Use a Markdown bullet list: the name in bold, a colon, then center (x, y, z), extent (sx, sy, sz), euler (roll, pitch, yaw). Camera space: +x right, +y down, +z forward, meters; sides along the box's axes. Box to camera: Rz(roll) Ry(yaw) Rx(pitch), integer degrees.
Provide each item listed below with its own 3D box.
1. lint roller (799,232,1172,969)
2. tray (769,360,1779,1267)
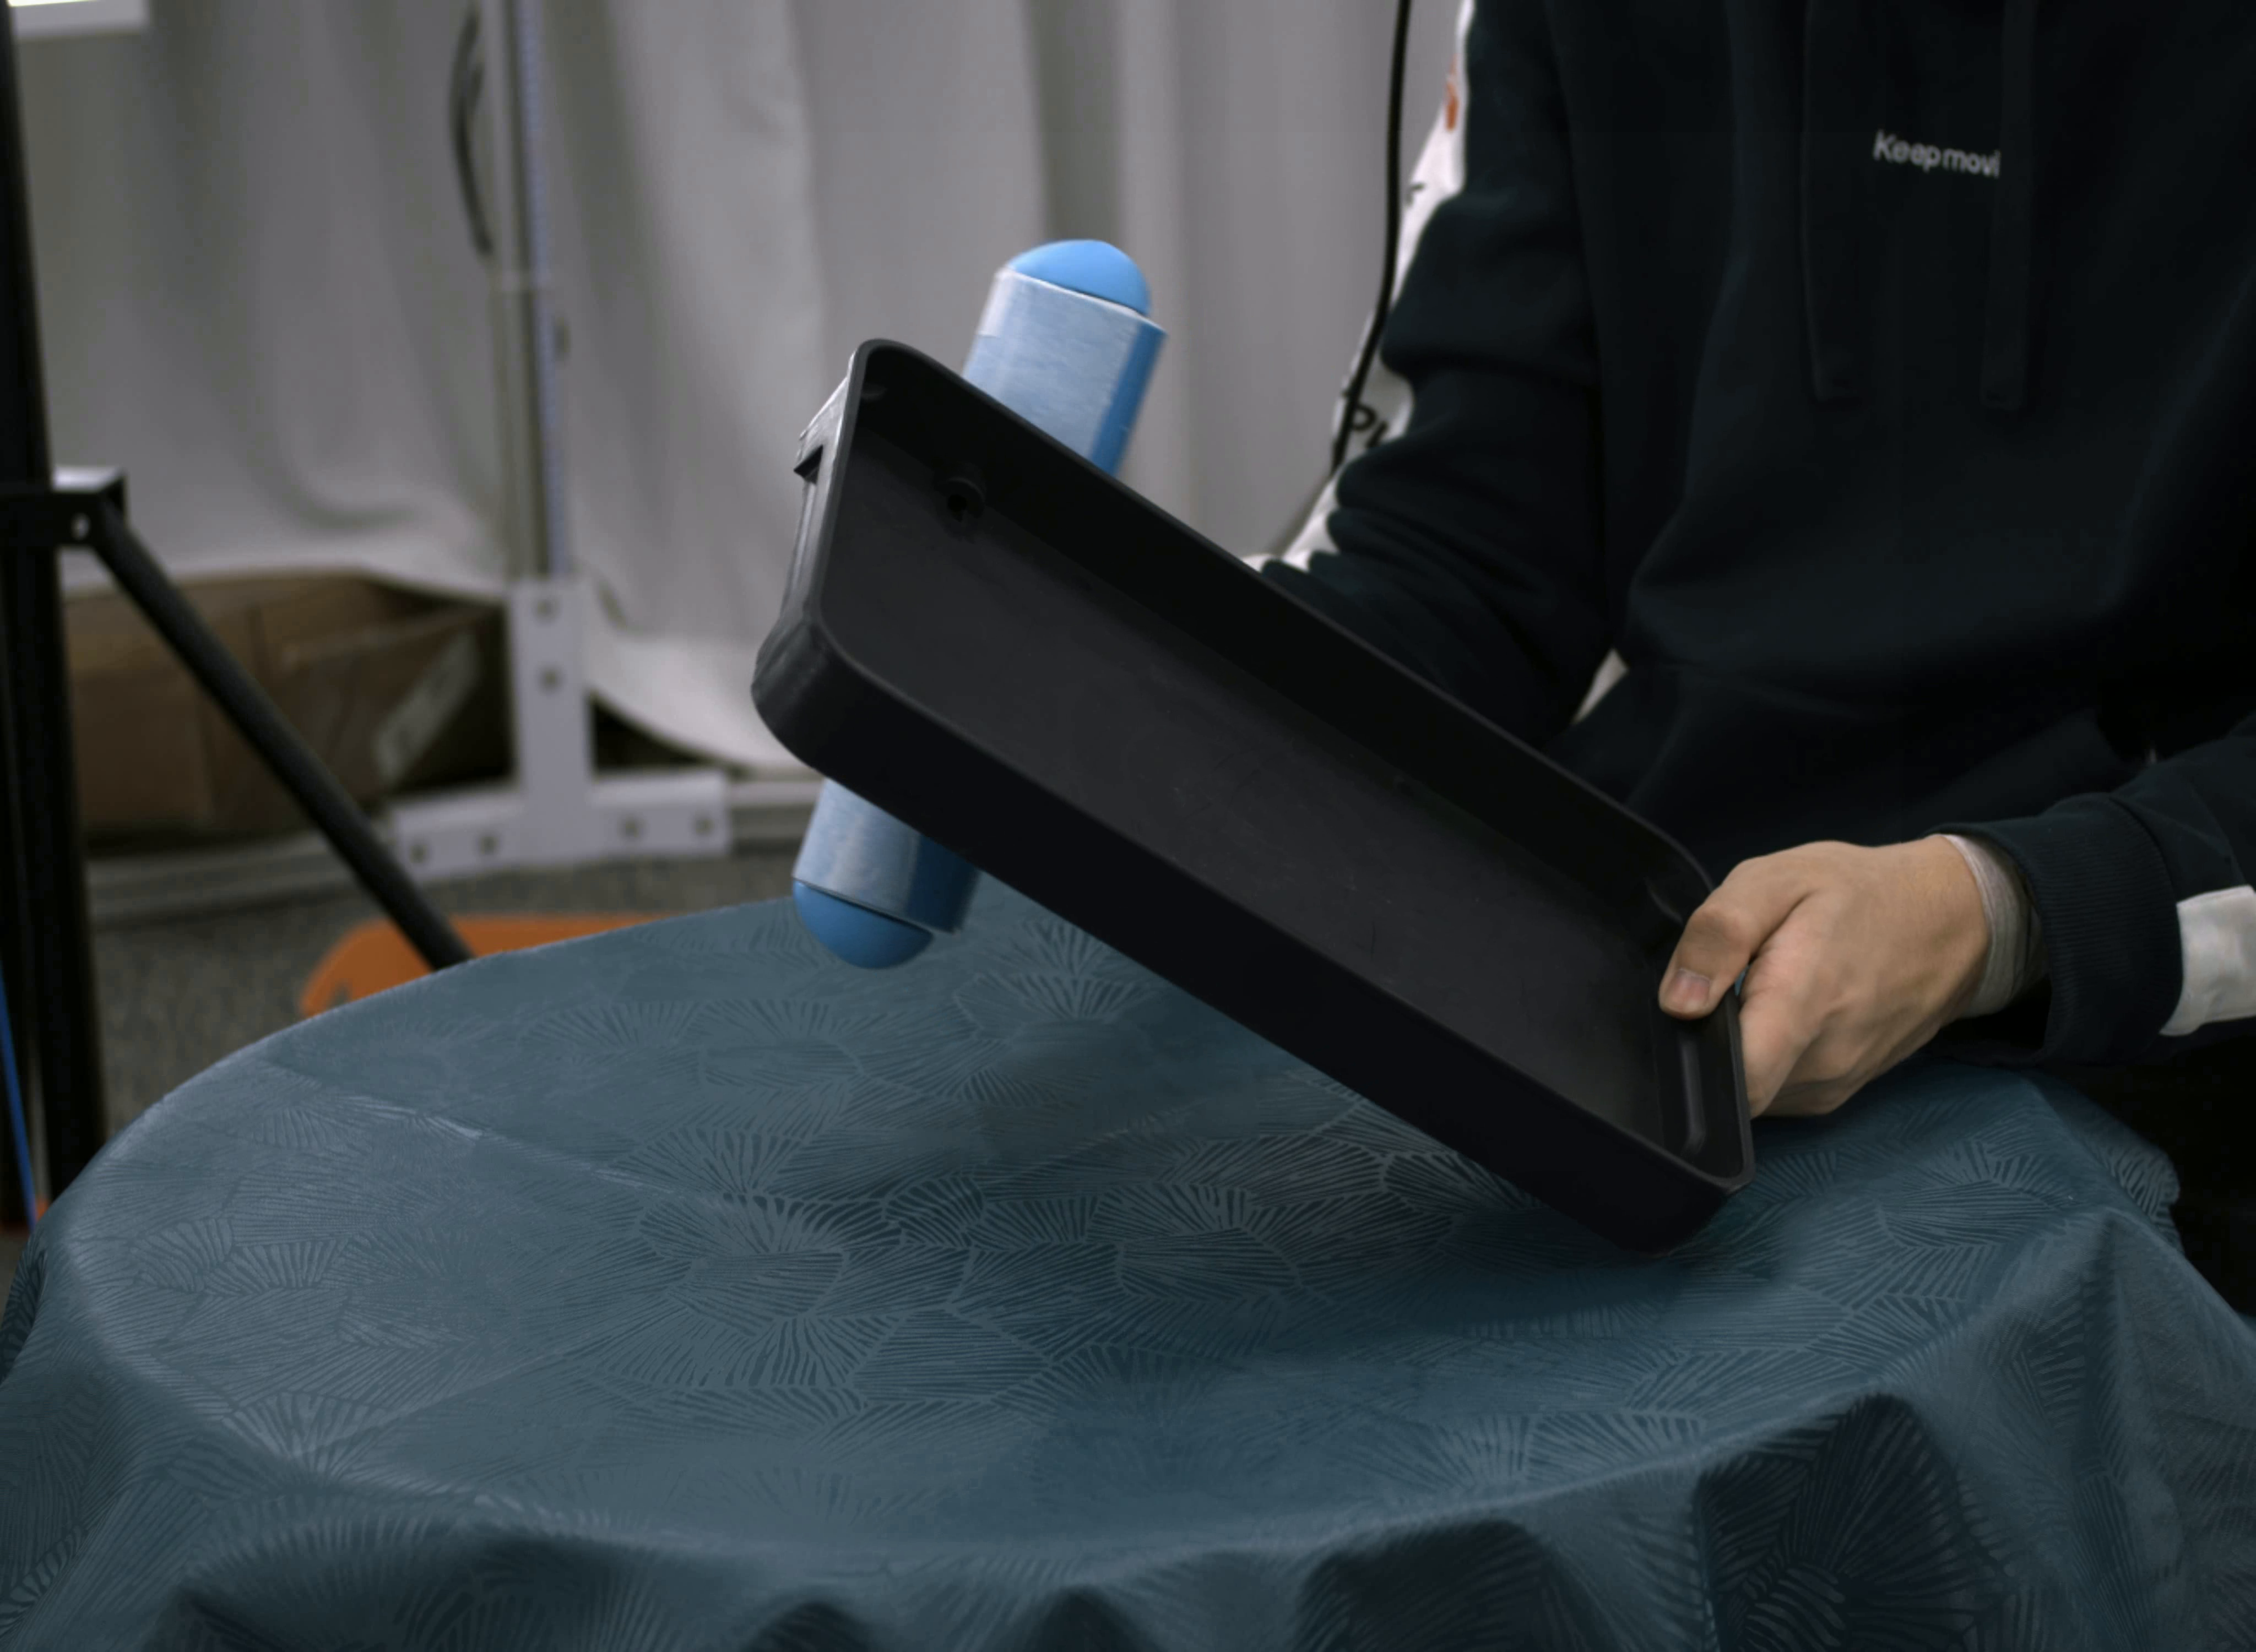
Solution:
- **lint roller**: center (-0.034, -0.061, 1.650), extent (0.068, 0.230, 0.178), euler (18, -3, 11)
- **tray**: center (0.043, -0.004, 1.505), extent (0.313, 0.037, 0.185), euler (30, 28, -15)
